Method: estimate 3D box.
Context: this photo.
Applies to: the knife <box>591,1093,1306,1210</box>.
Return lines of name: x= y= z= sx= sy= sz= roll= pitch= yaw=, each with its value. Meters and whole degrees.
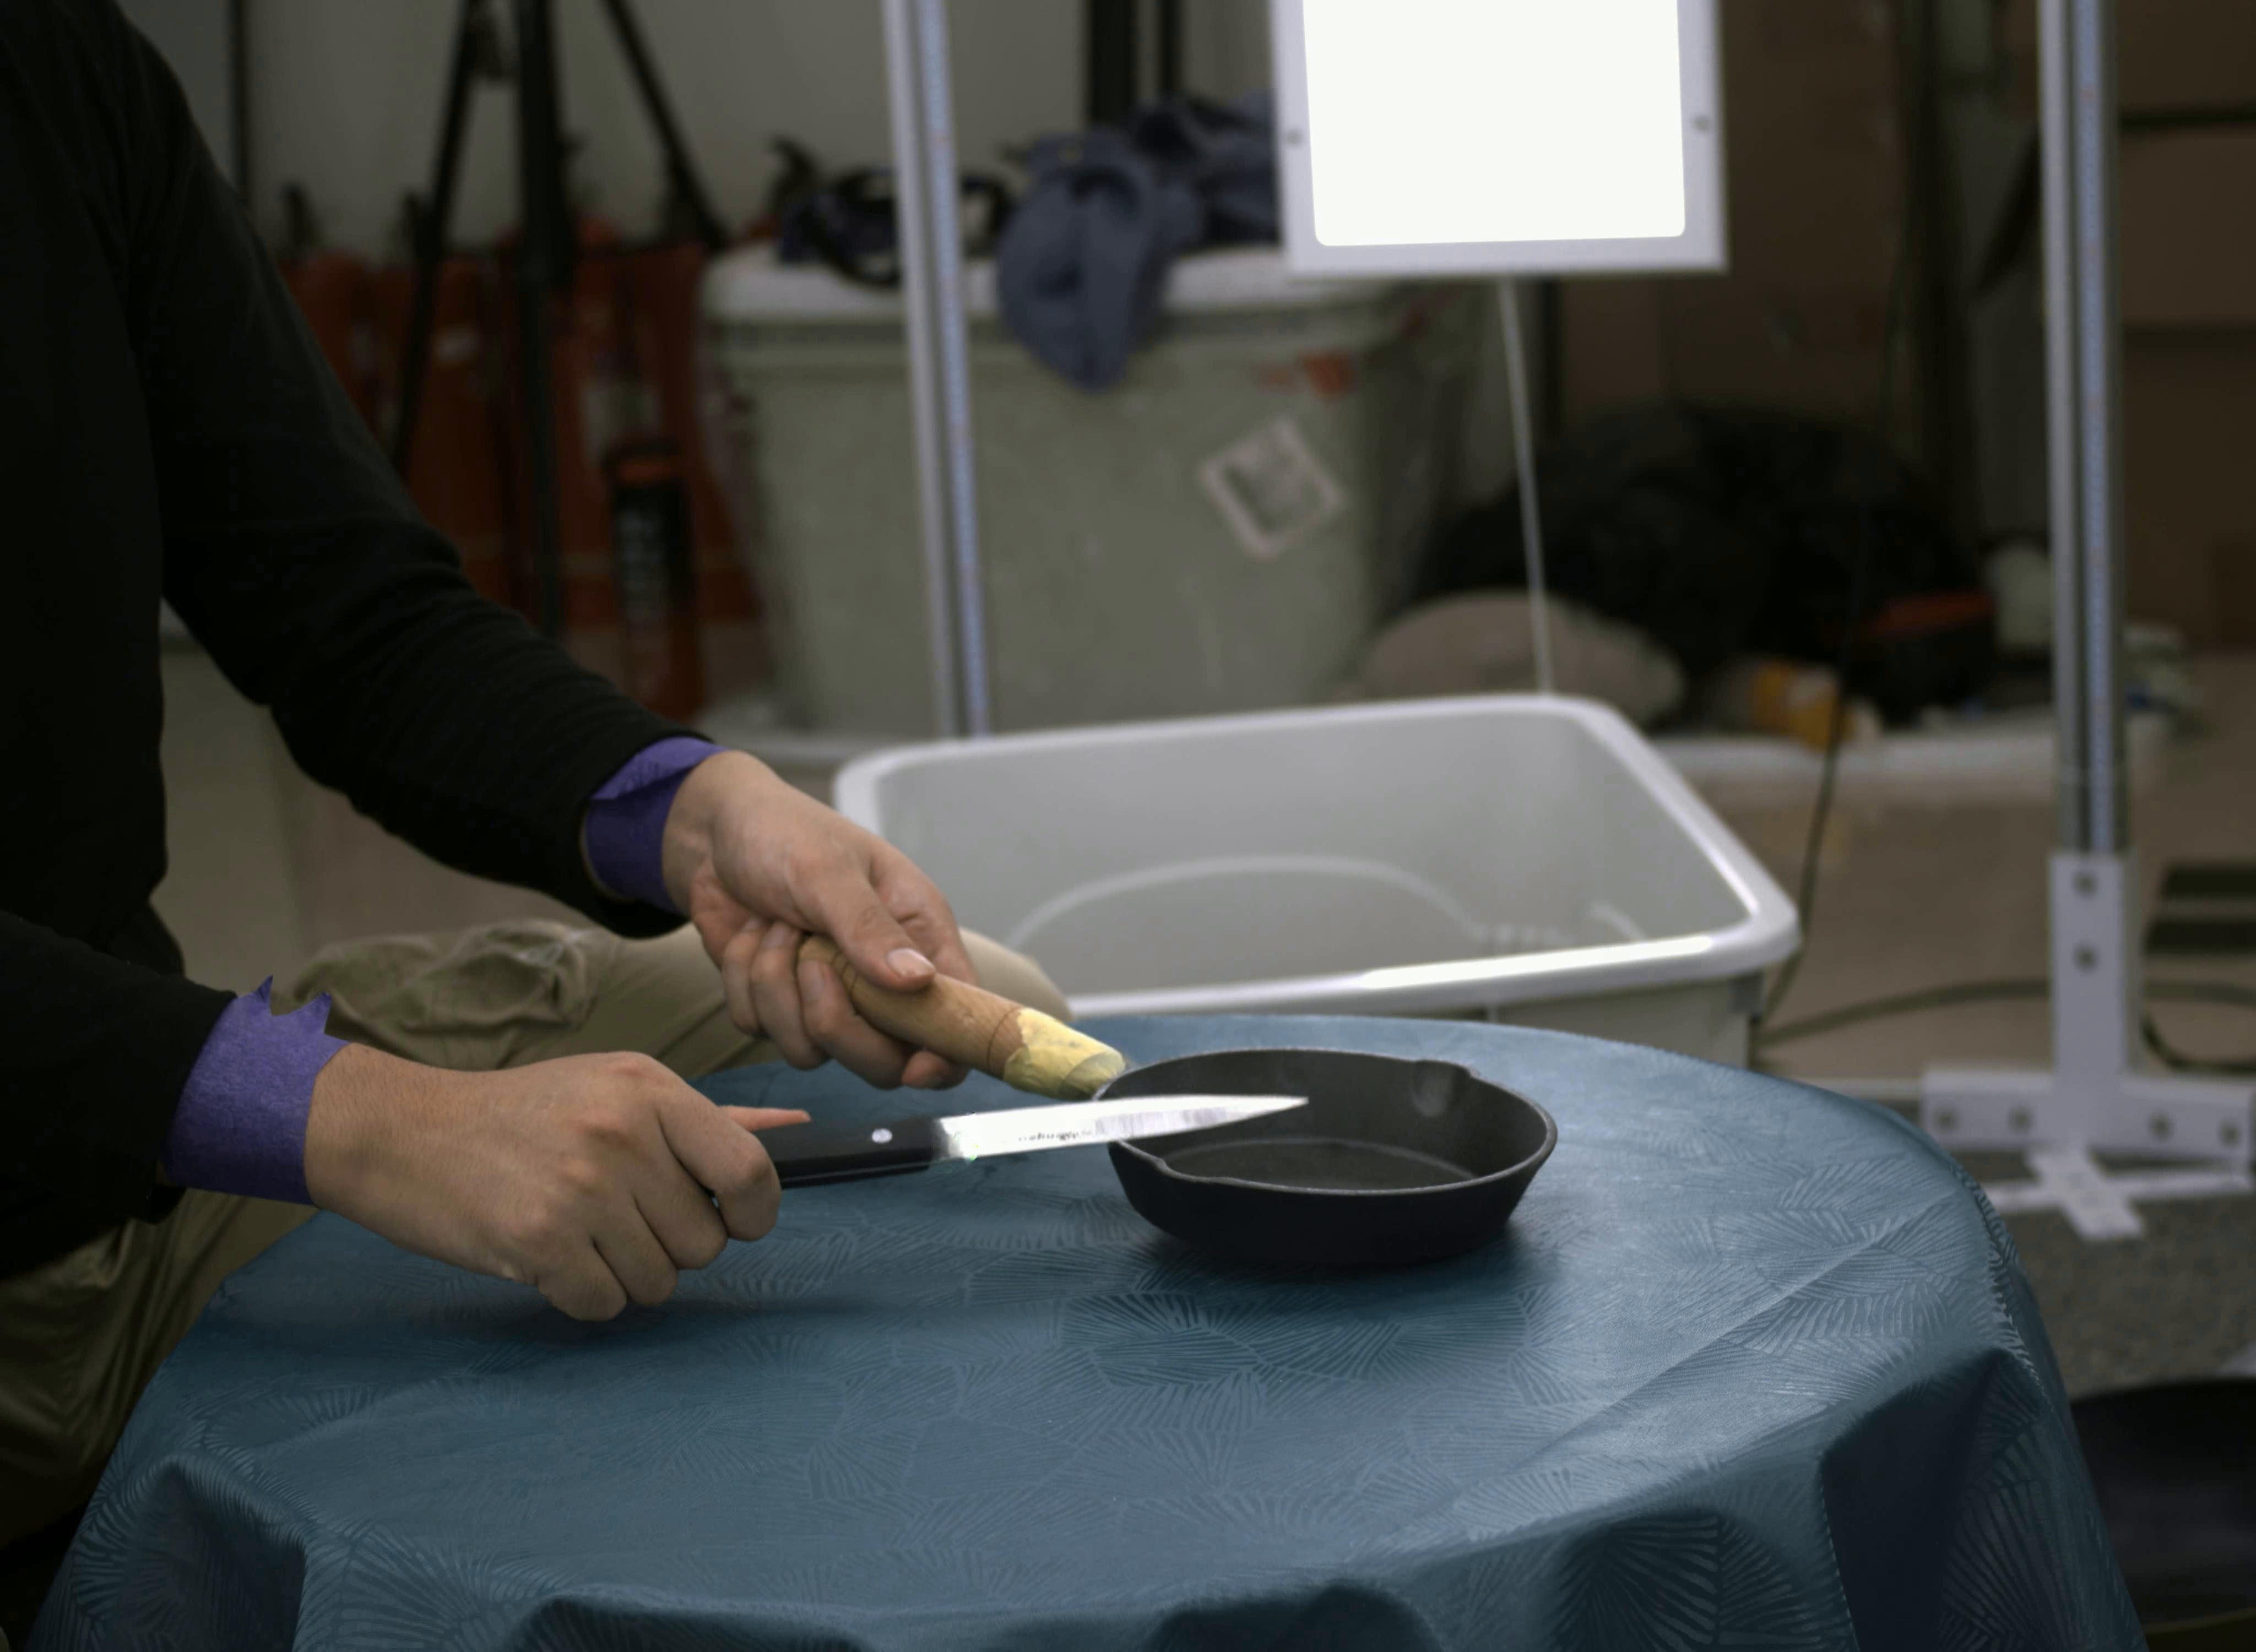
knife: x=-0.059 y=0.105 z=1.805 sx=0.238 sy=0.016 sz=0.024 roll=-7 pitch=39 yaw=5

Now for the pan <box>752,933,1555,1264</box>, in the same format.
pan: x=-0.002 y=0.090 z=1.887 sx=0.331 sy=0.050 sz=0.164 roll=13 pitch=18 yaw=38
